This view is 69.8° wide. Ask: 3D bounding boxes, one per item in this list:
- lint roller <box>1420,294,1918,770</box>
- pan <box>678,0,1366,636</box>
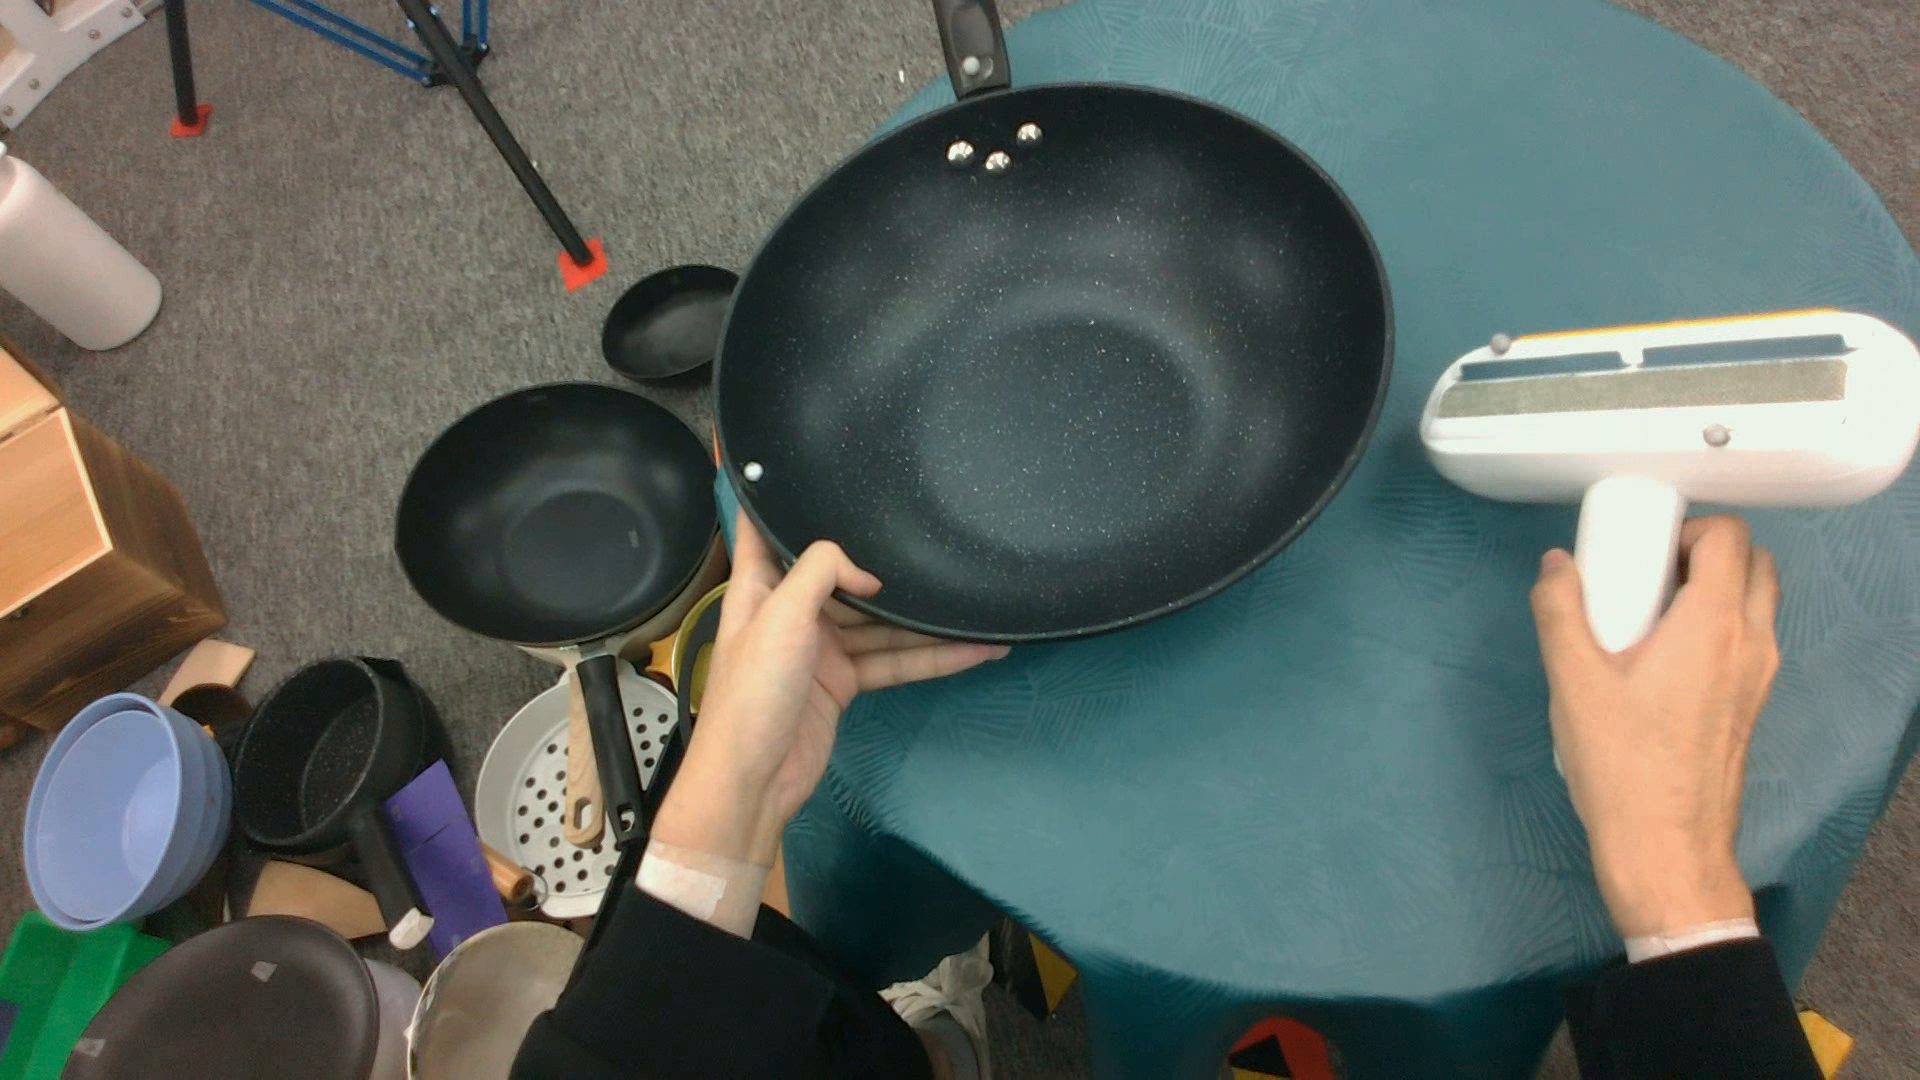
[{"bbox_3d":[0.255,-0.004,0.548,0.192,0.074,0.192,15,83,55],"label":"lint roller"},{"bbox_3d":[0.012,-0.158,0.685,0.310,0.111,0.478,-13,61,2],"label":"pan"}]
